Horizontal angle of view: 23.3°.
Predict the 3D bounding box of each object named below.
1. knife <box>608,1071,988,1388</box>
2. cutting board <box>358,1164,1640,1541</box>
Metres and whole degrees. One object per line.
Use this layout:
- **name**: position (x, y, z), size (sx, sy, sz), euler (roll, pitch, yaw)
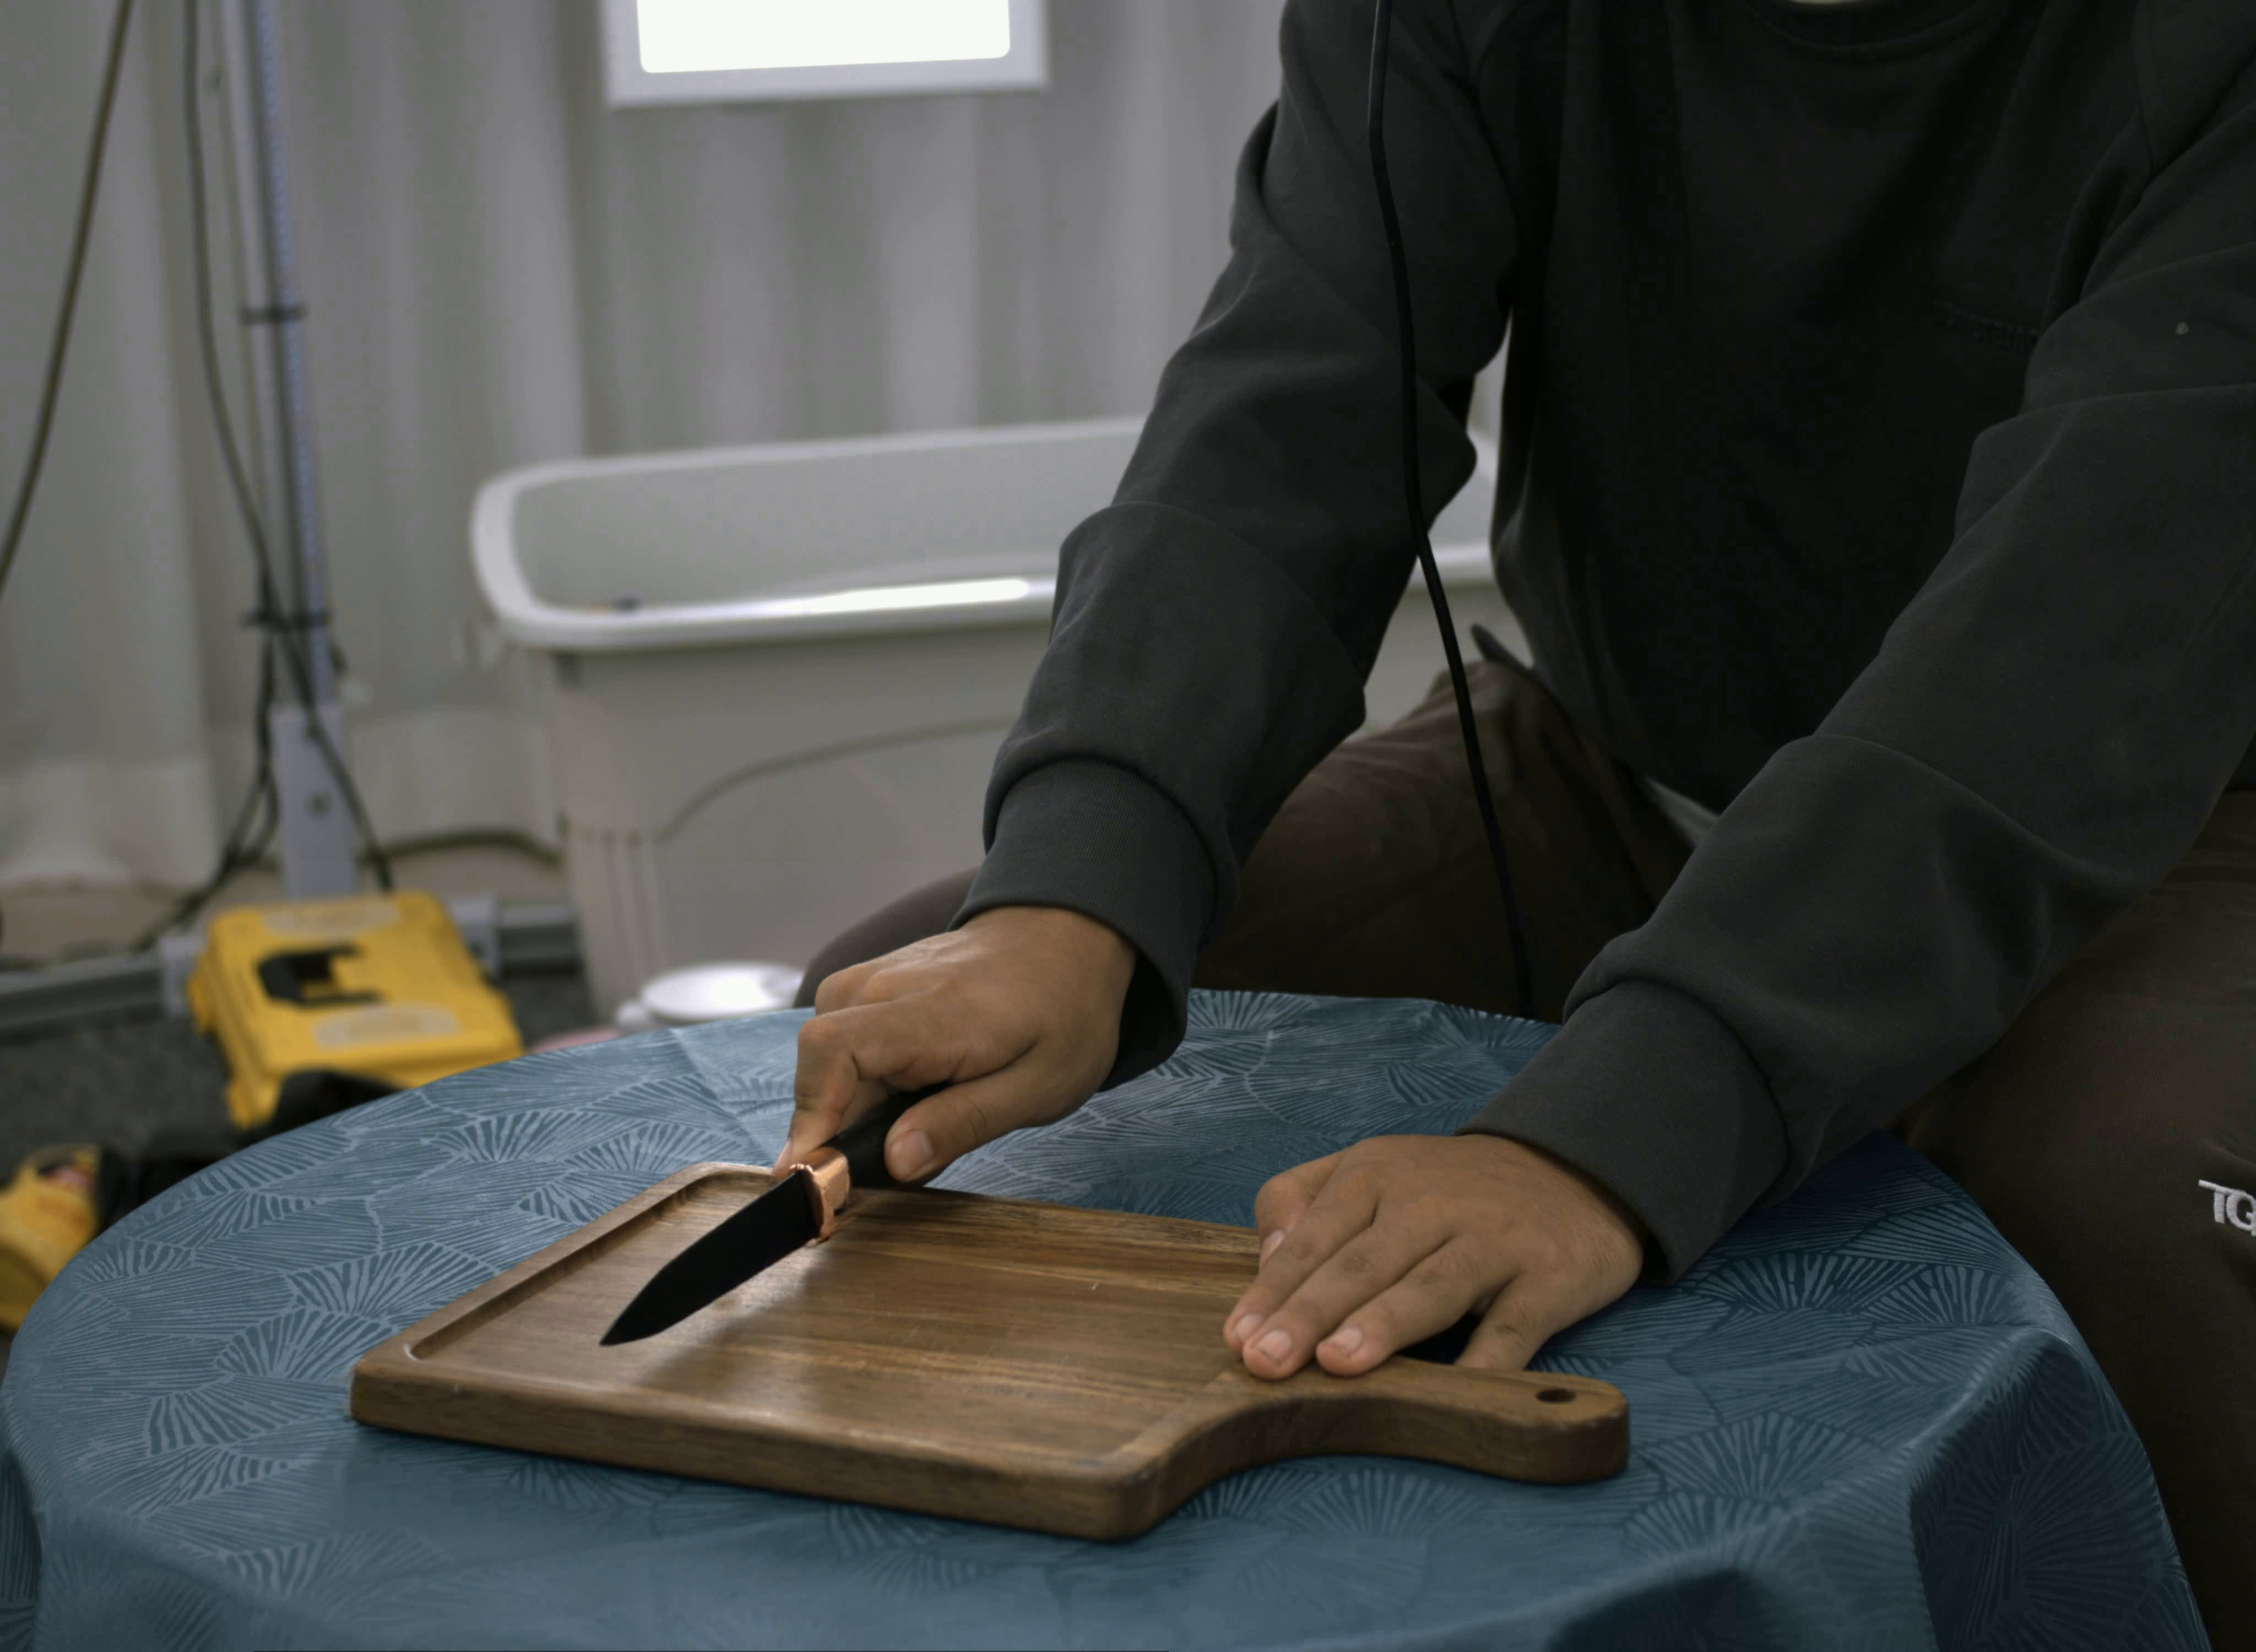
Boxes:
- **knife**: position (-0.096, 0.117, 1.617), size (0.017, 0.026, 0.226), euler (-6, 14, 28)
- **cutting board**: position (-0.022, 0.150, 1.546), size (0.353, 0.023, 0.201), euler (5, 17, 27)
